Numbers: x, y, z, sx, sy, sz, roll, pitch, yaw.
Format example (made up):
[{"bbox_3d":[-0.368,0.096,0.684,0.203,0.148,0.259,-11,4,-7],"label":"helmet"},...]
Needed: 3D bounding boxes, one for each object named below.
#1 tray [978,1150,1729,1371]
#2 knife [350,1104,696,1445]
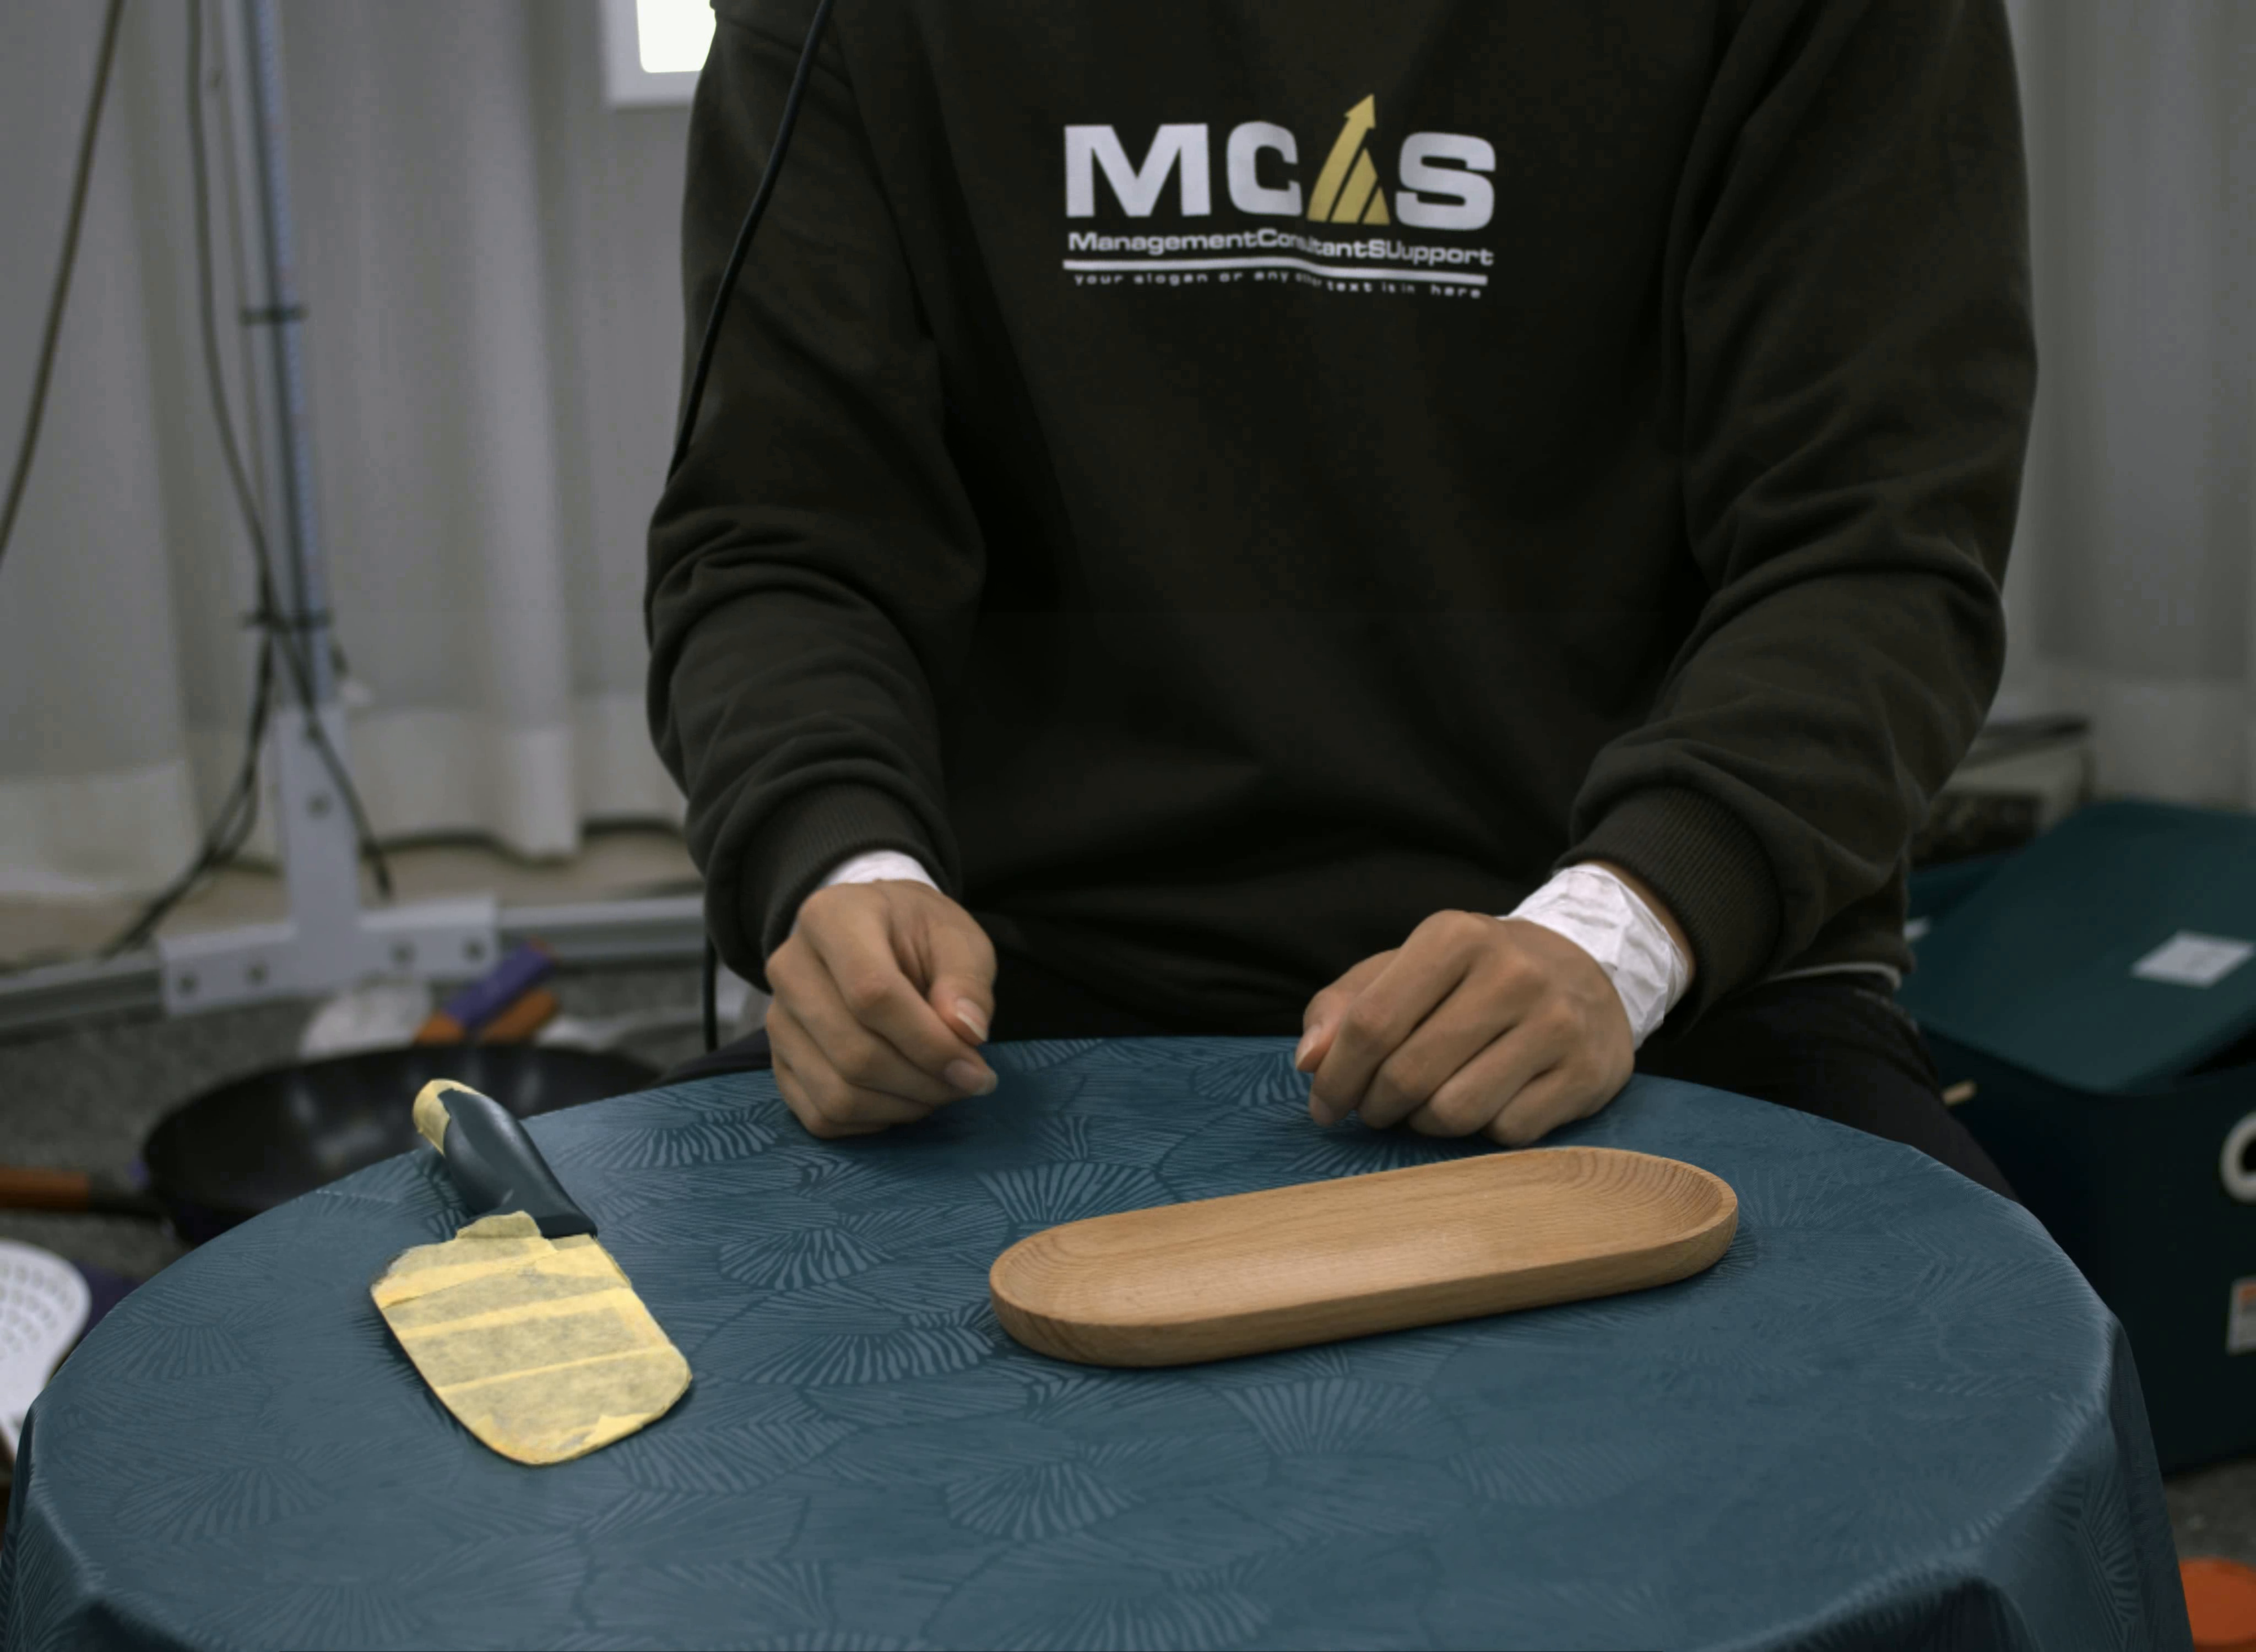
[{"bbox_3d":[0.068,0.129,1.621,0.230,0.020,0.102,-9,14,-17],"label":"tray"},{"bbox_3d":[-0.192,0.135,1.648,0.080,0.027,0.292,-6,16,-16],"label":"knife"}]
